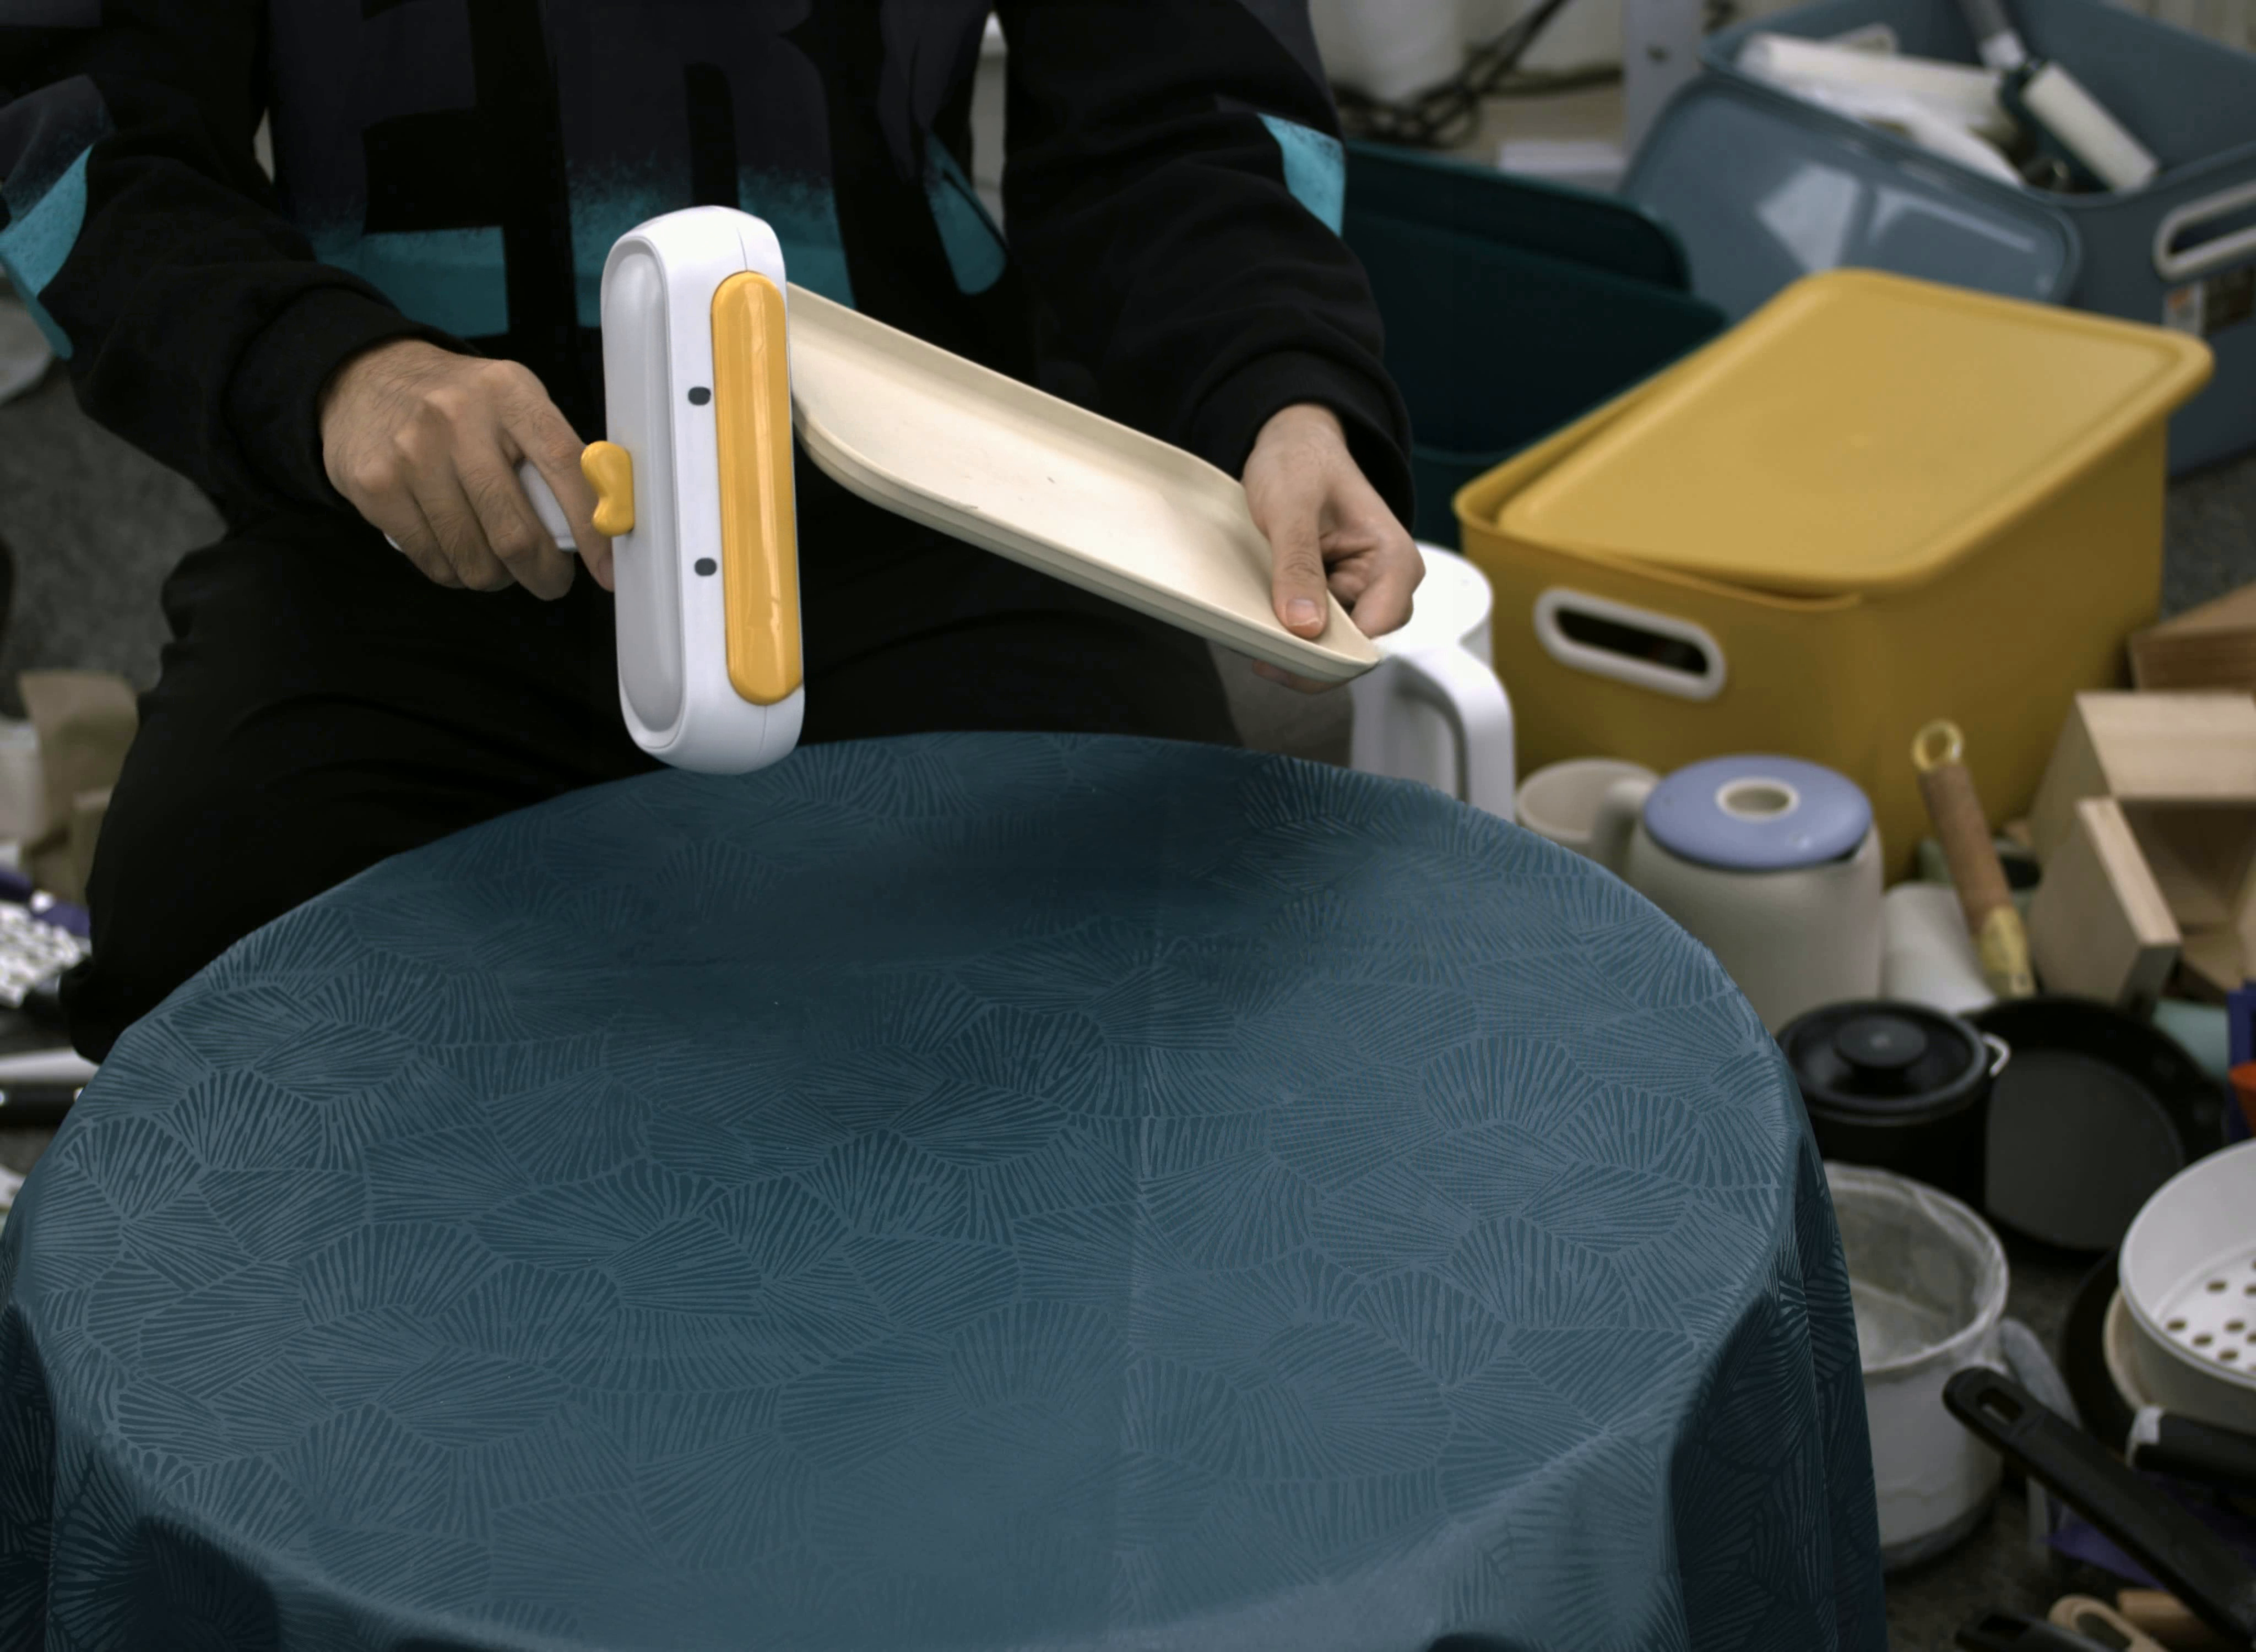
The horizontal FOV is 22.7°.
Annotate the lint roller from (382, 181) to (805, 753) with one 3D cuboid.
[{"bbox_3d":[-0.186,-0.117,1.952,0.074,0.193,0.190,-8,1,-39],"label":"lint roller"}]

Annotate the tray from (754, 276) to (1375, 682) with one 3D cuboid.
[{"bbox_3d":[-0.030,-0.122,2.004,0.239,0.017,0.173,21,18,-28],"label":"tray"}]
